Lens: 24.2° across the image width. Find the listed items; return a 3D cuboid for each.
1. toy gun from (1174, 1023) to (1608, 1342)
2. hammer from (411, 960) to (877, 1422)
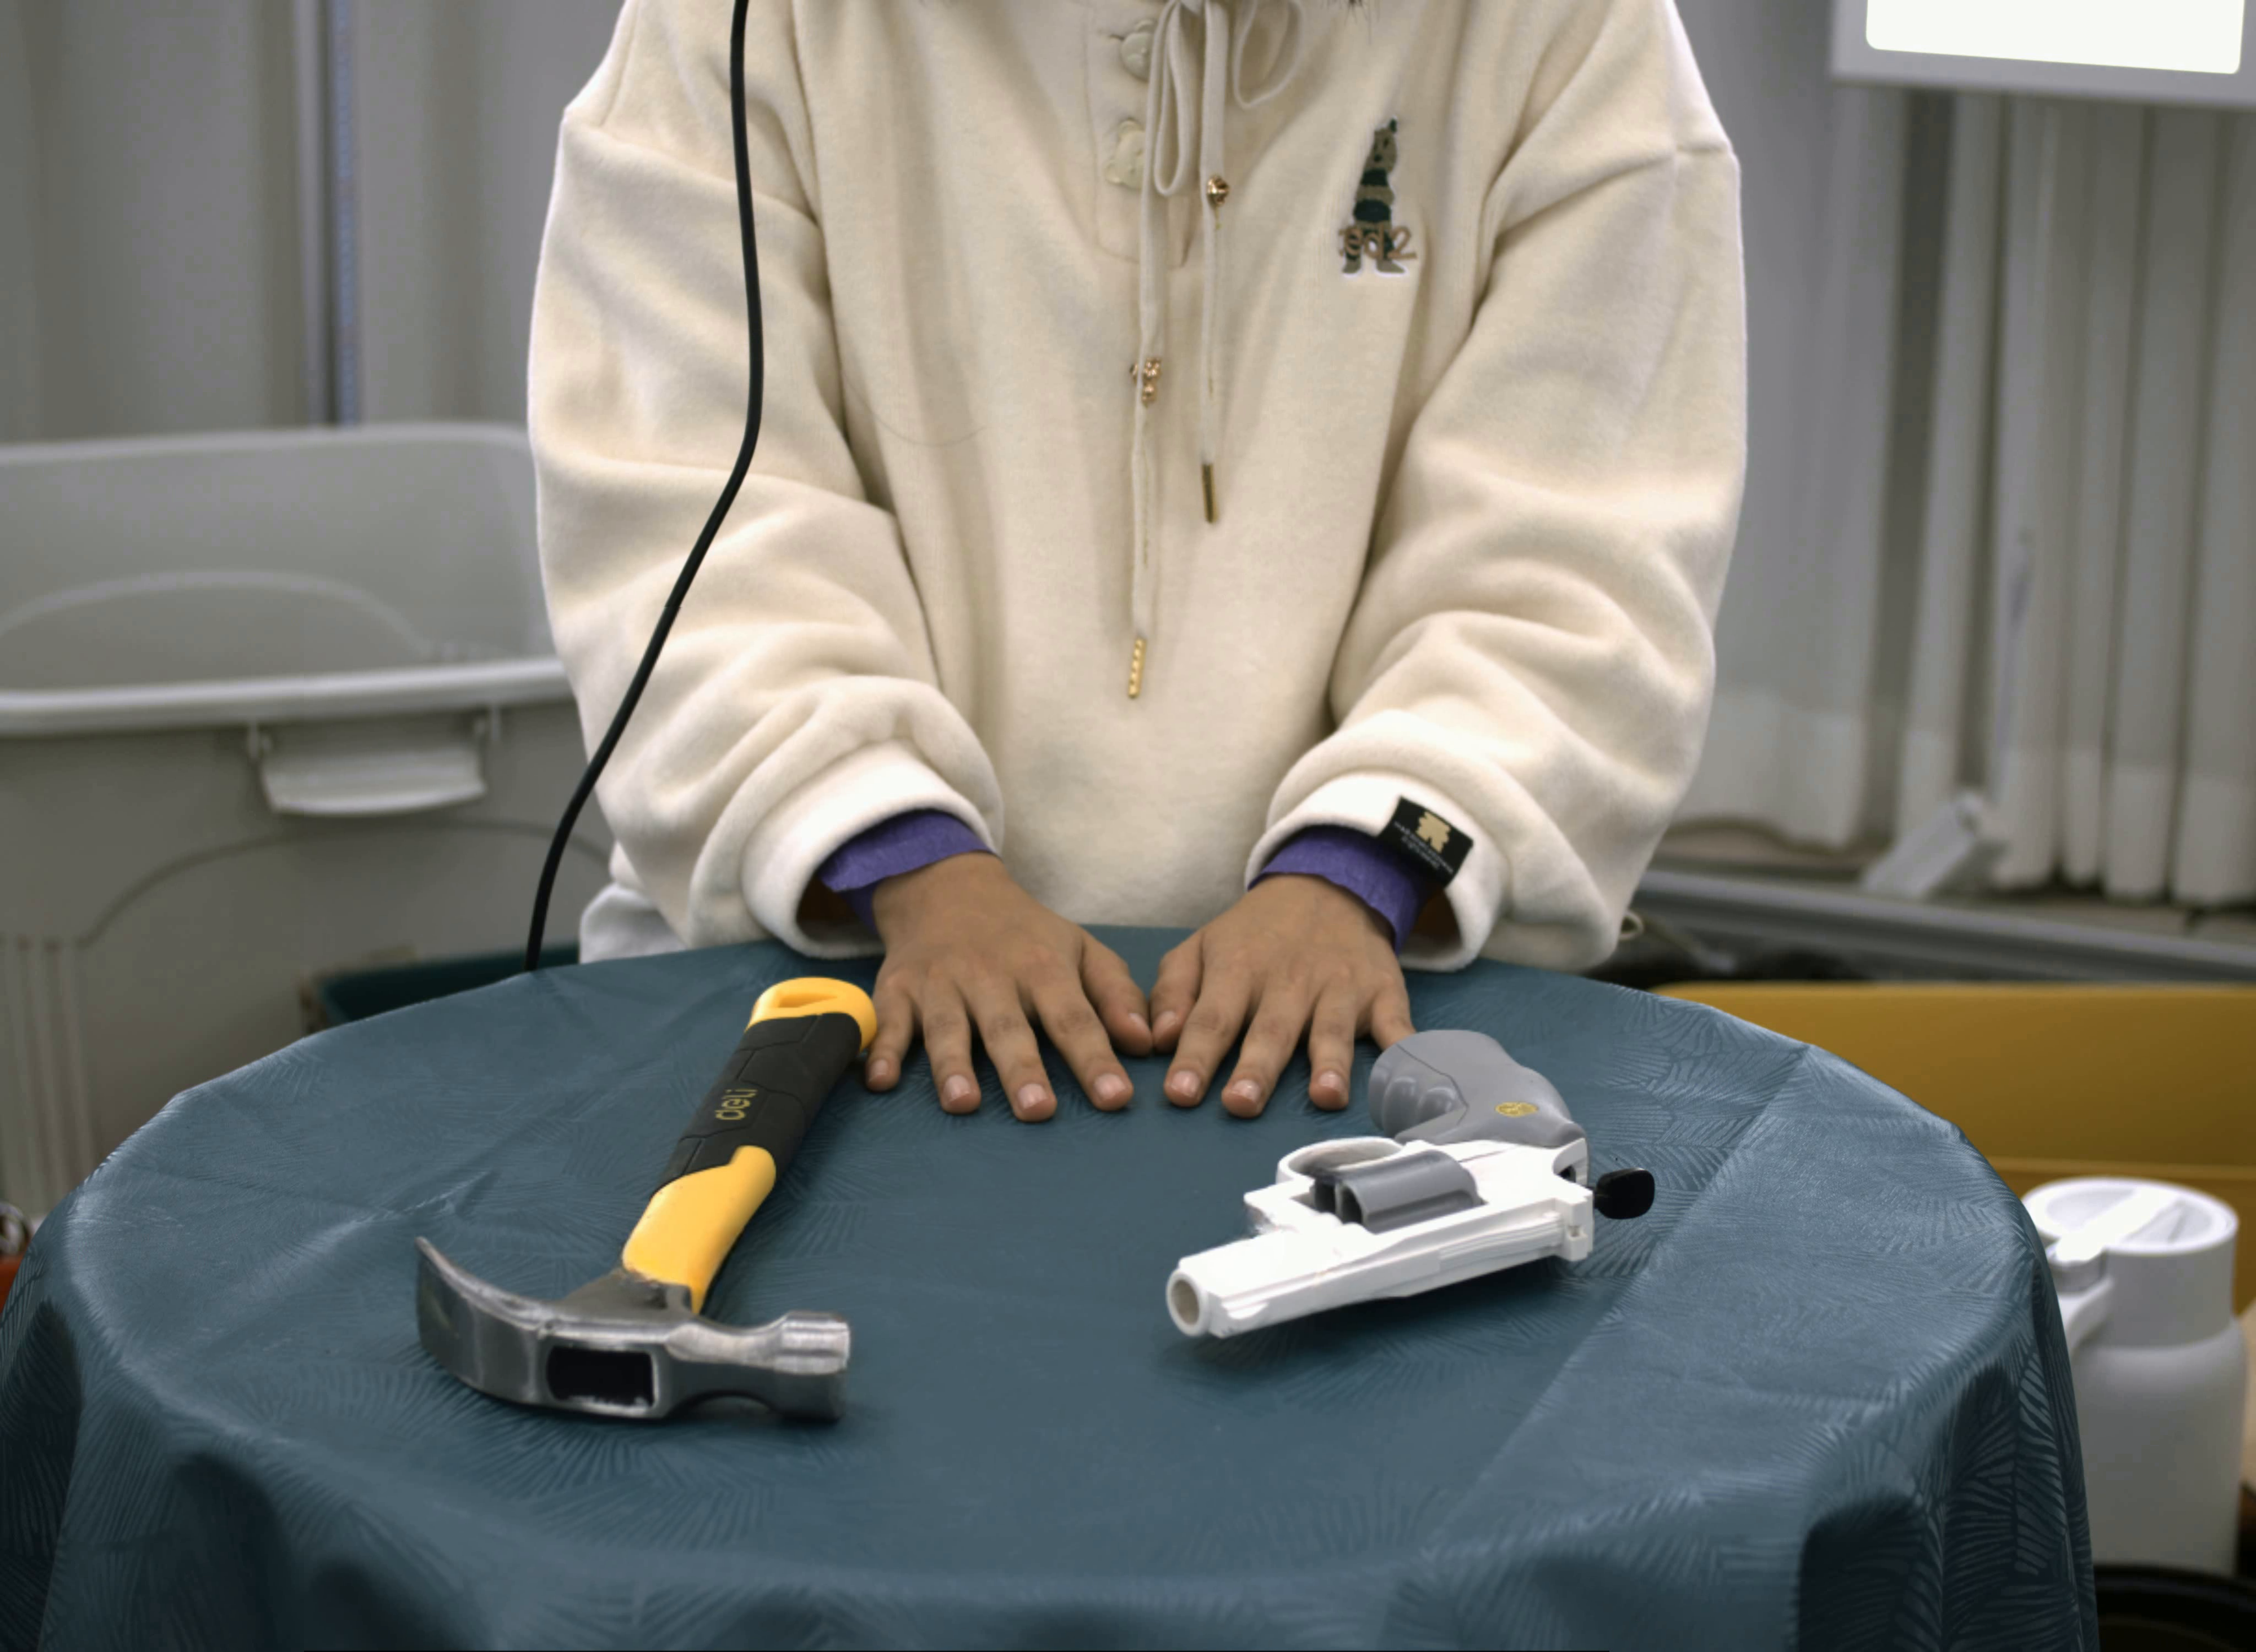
[{"bbox_3d":[0.071,0.106,1.571,0.210,0.039,0.140,-12,21,-37],"label":"toy gun"},{"bbox_3d":[-0.123,0.102,1.586,0.130,0.032,0.337,0,16,7],"label":"hammer"}]
